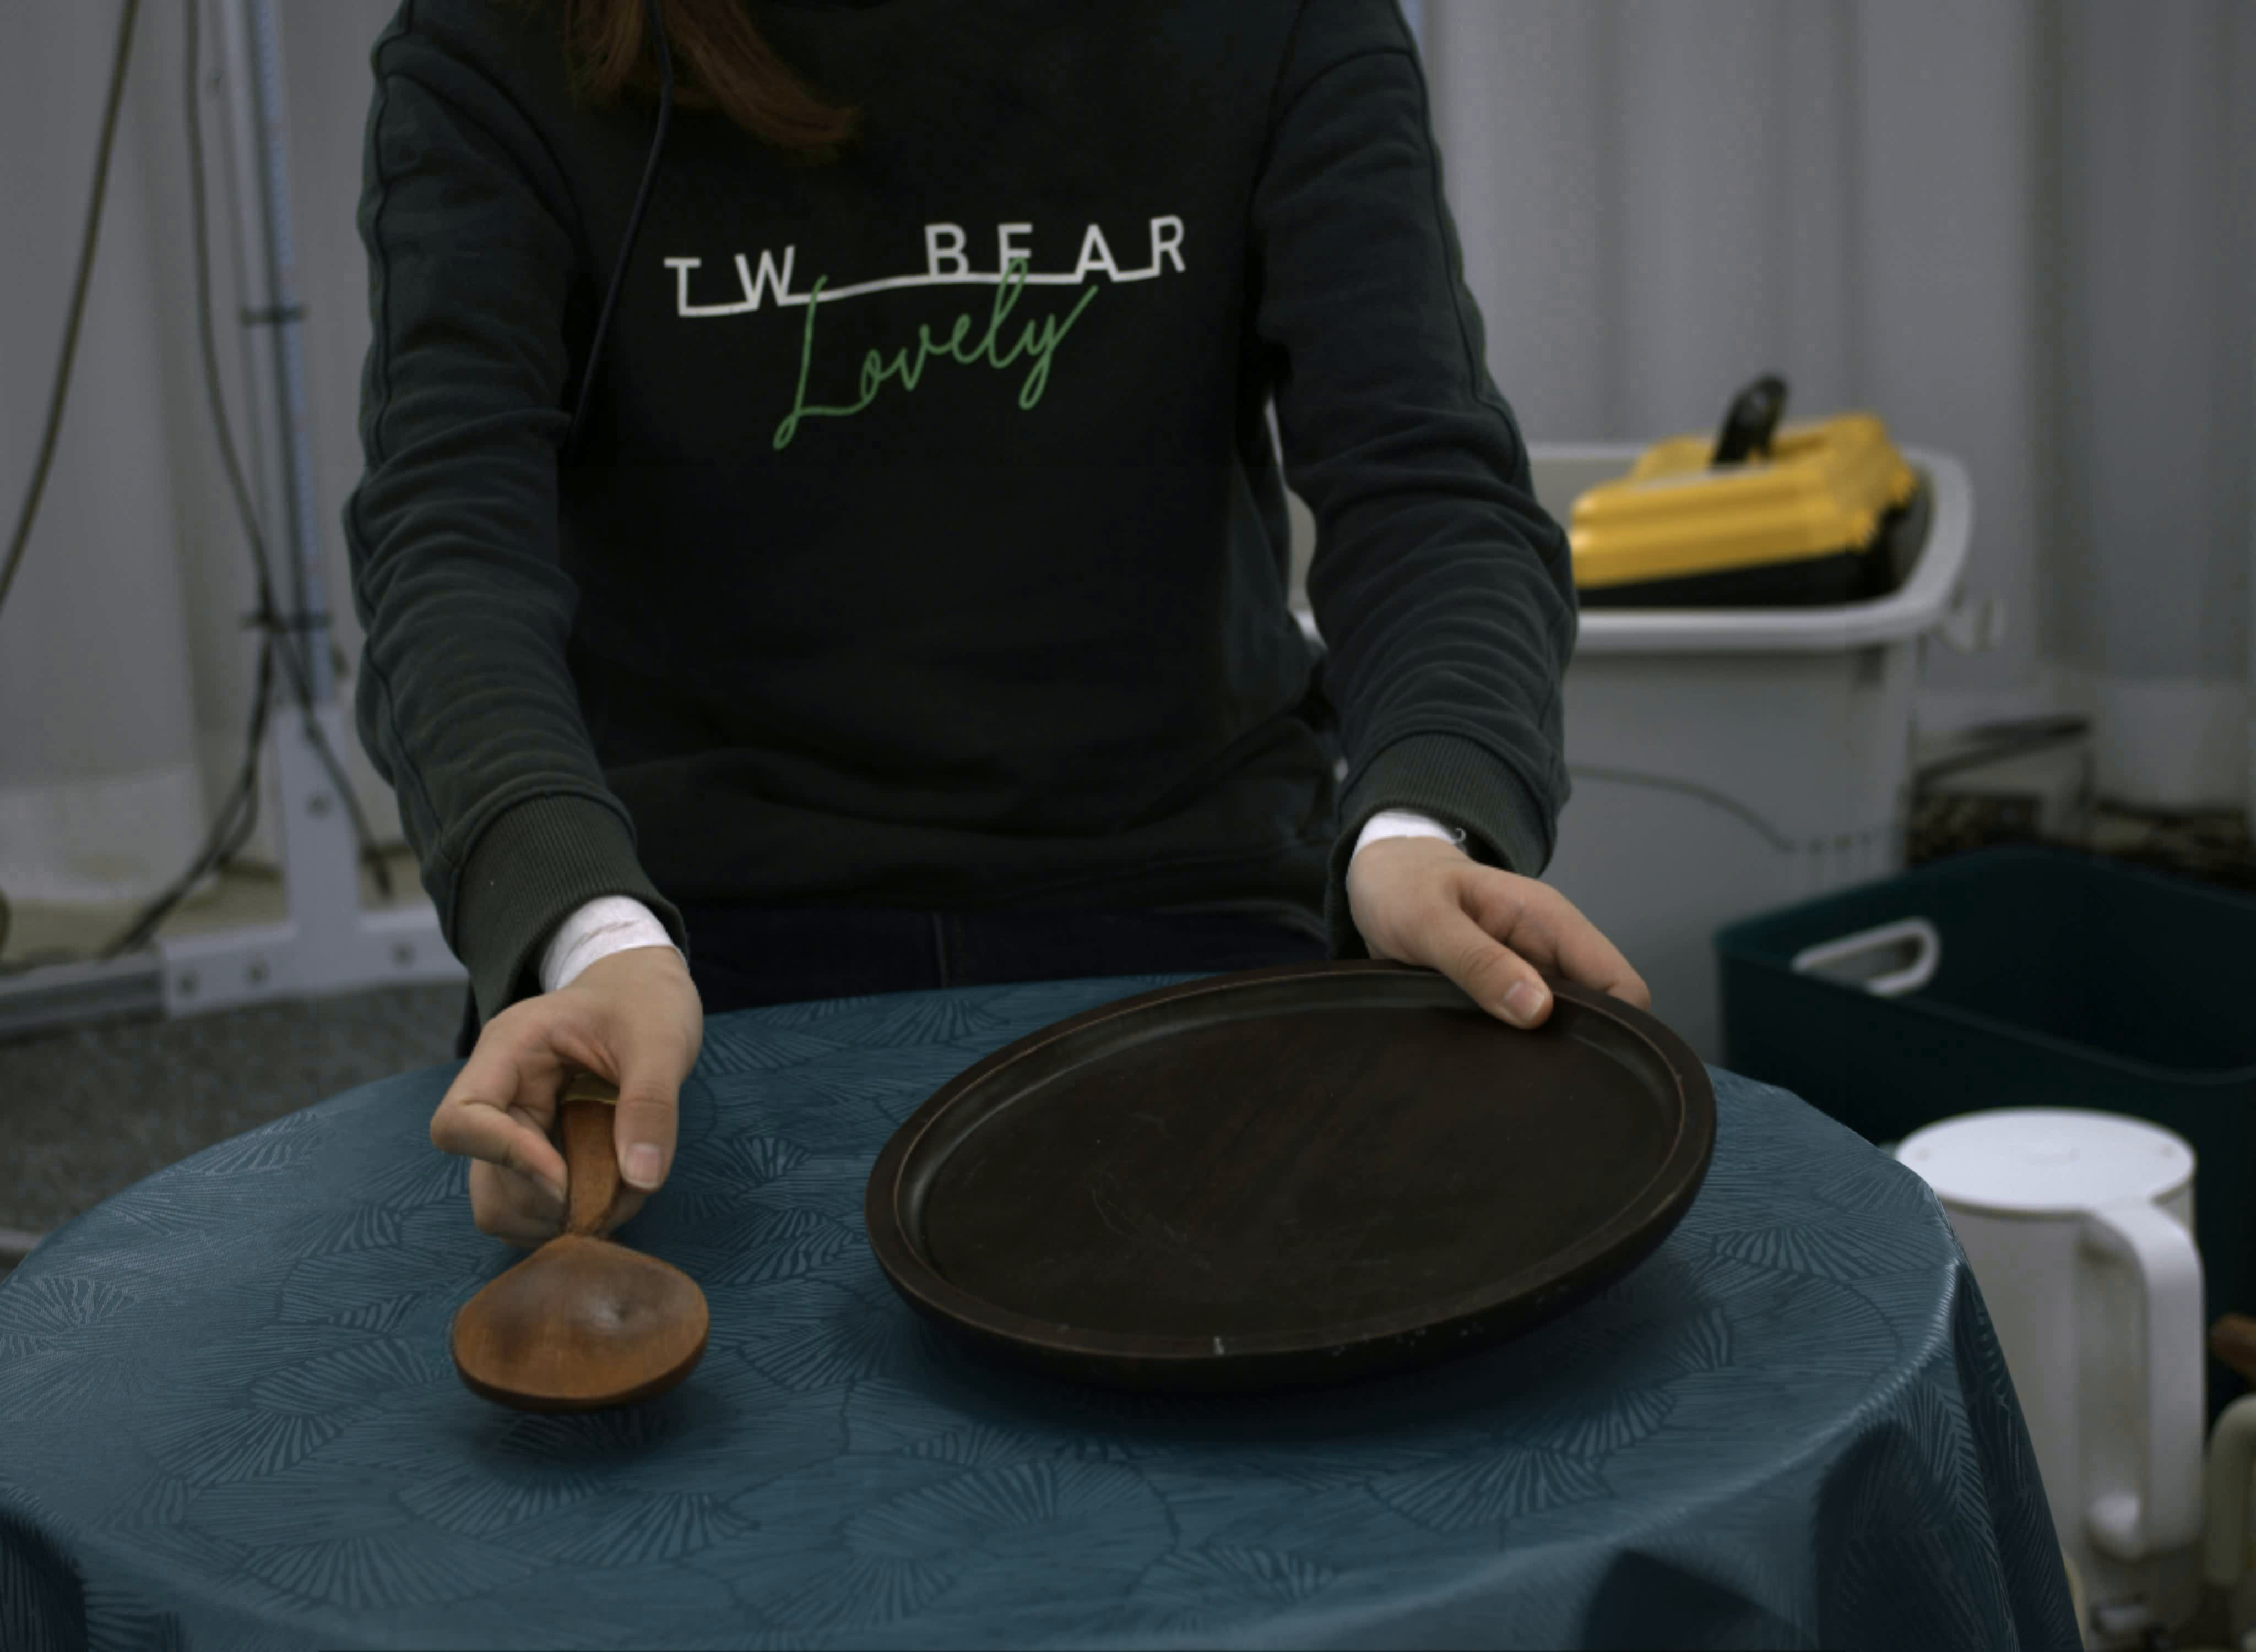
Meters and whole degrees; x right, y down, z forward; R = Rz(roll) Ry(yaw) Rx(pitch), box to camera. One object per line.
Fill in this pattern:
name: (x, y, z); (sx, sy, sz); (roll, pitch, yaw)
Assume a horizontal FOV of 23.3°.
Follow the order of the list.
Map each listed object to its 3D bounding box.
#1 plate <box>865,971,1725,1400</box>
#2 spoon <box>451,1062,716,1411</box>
plate: (0.049, 0.102, 1.602); (0.254, 0.029, 0.257); (-6, 23, 2)
spoon: (-0.157, 0.121, 1.602); (0.075, 0.017, 0.218); (-5, 23, -2)
